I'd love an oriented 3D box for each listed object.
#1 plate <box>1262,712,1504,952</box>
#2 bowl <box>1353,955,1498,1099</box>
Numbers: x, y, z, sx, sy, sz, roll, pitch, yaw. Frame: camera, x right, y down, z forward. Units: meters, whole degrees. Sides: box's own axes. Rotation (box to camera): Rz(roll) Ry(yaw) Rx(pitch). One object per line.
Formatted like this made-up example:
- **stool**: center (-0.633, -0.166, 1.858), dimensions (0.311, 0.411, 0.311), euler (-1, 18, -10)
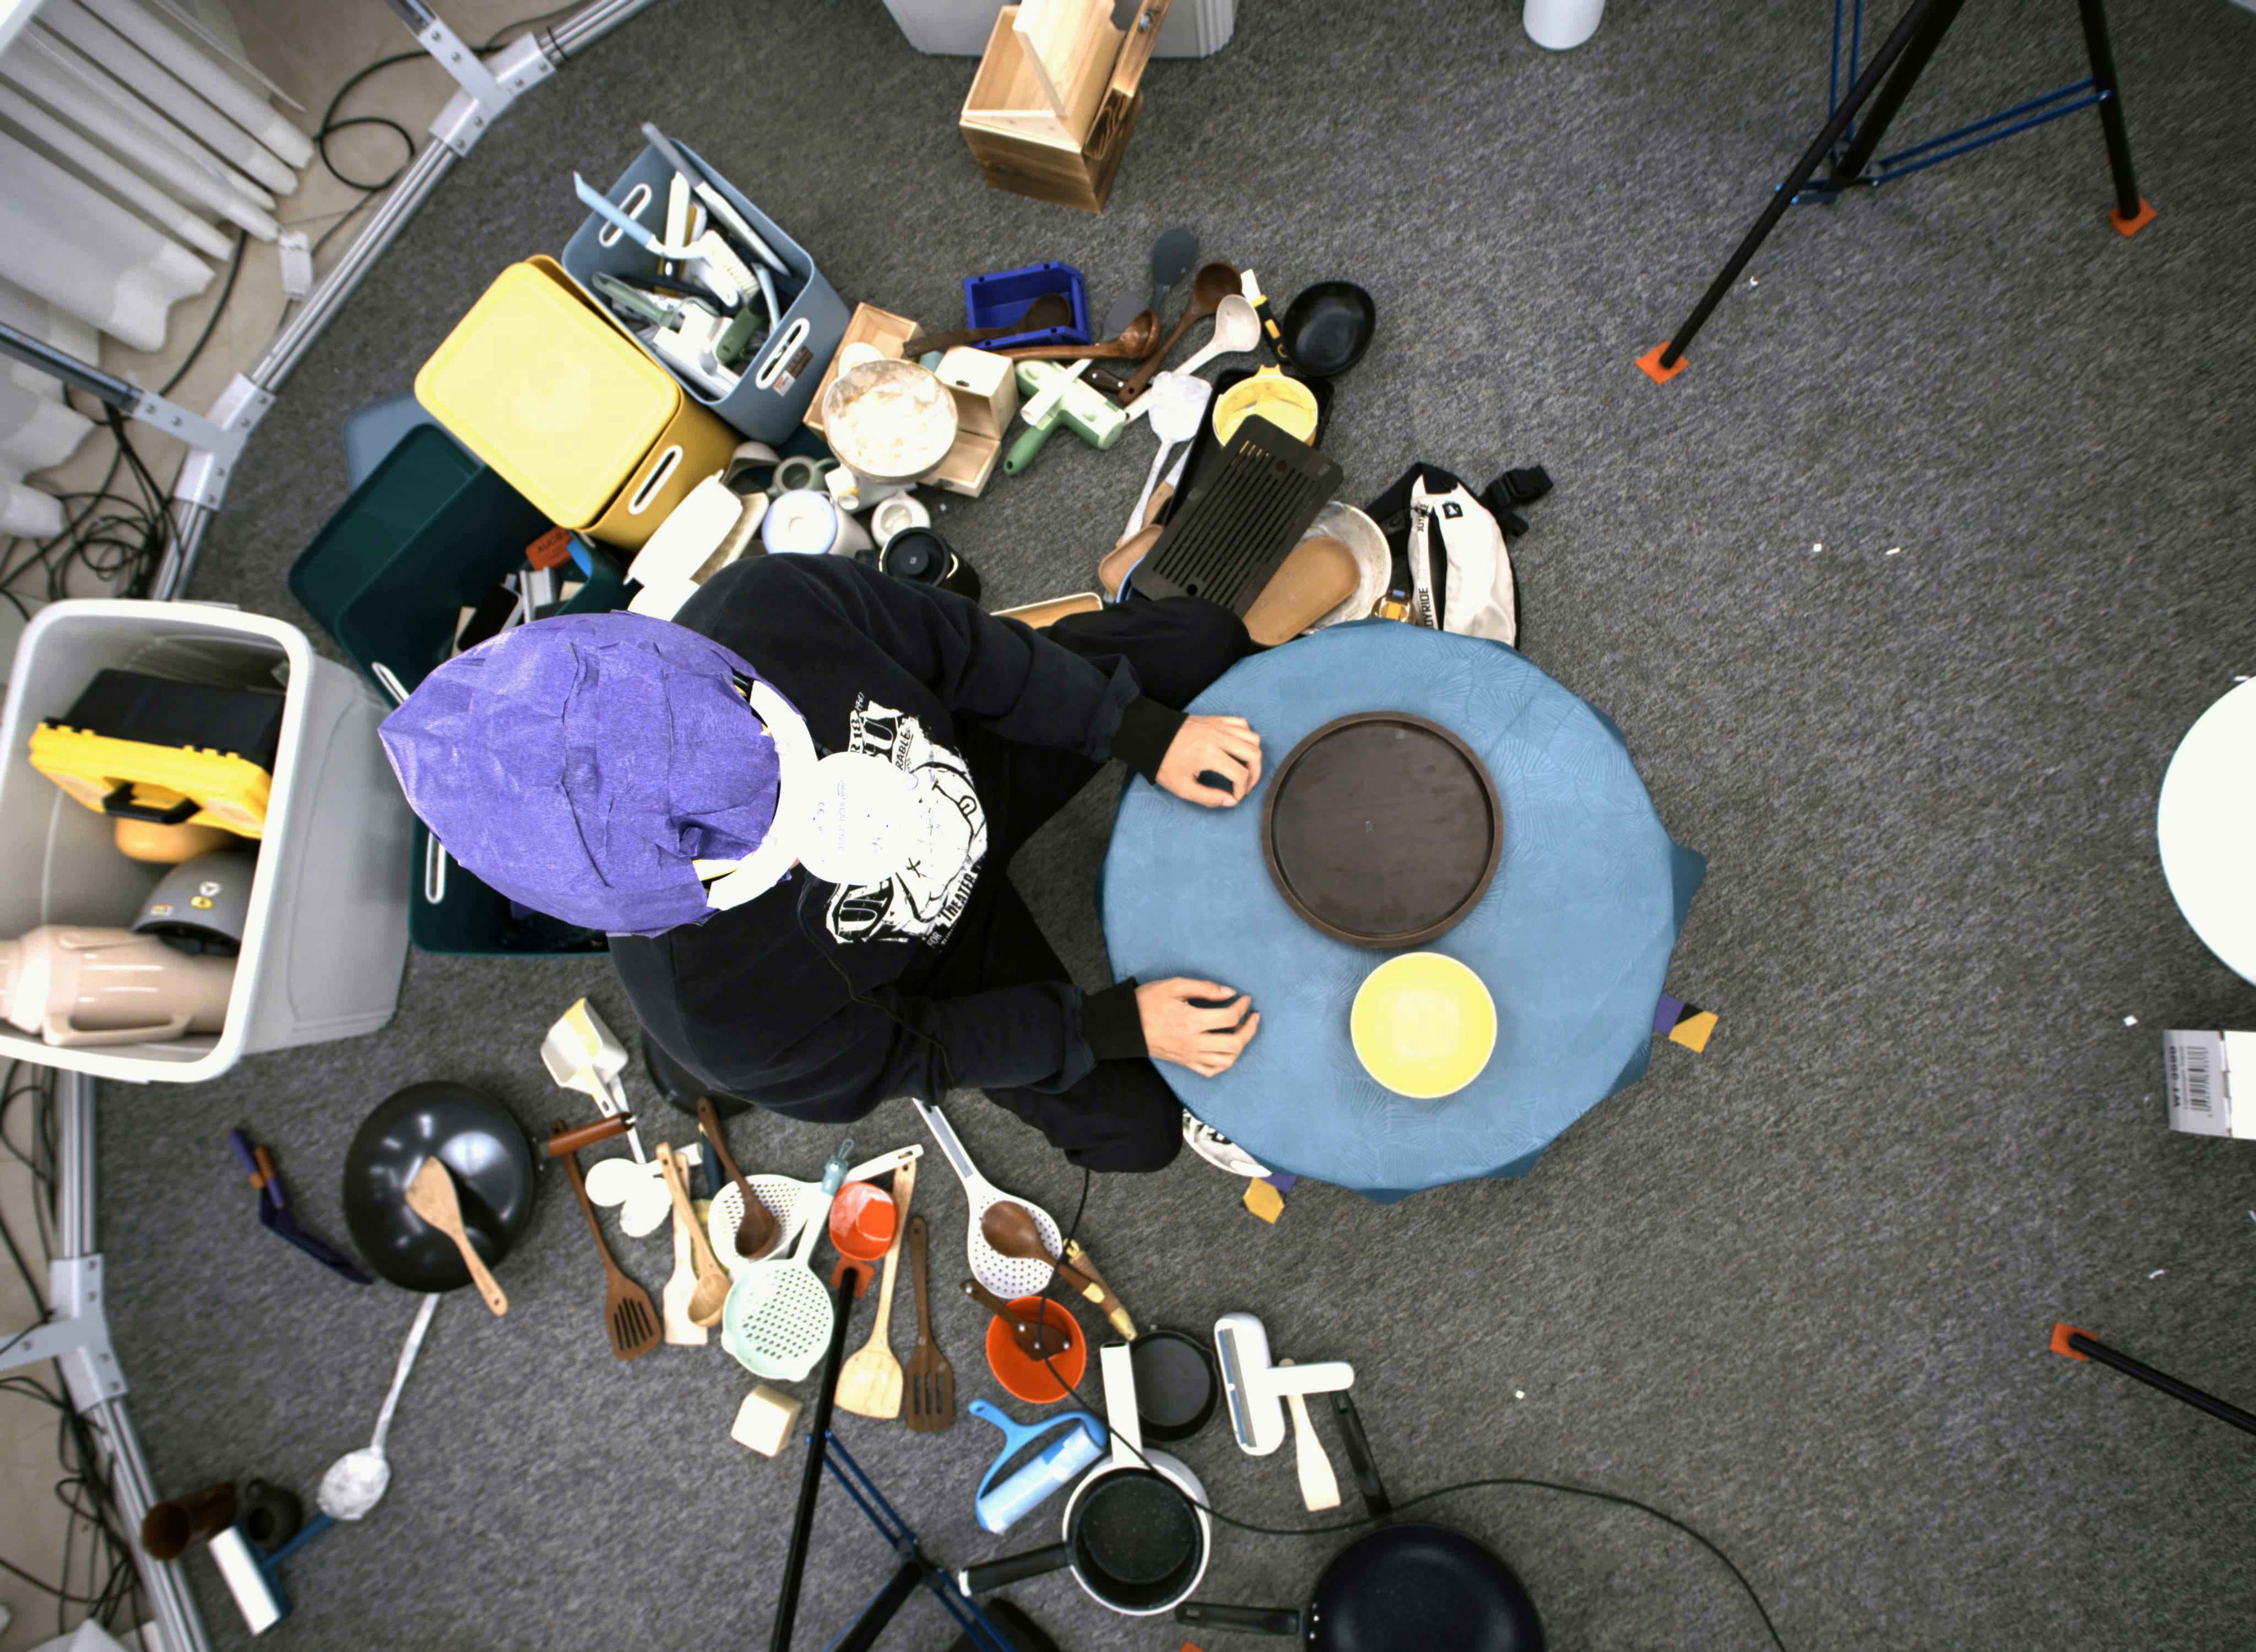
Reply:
- **plate**: center (0.269, 0.005, 1.458), dimensions (0.256, 0.029, 0.254), euler (-1, 88, 11)
- **bowl**: center (0.305, 0.205, 1.421), dimensions (0.146, 0.060, 0.144), euler (-2, 83, 12)
